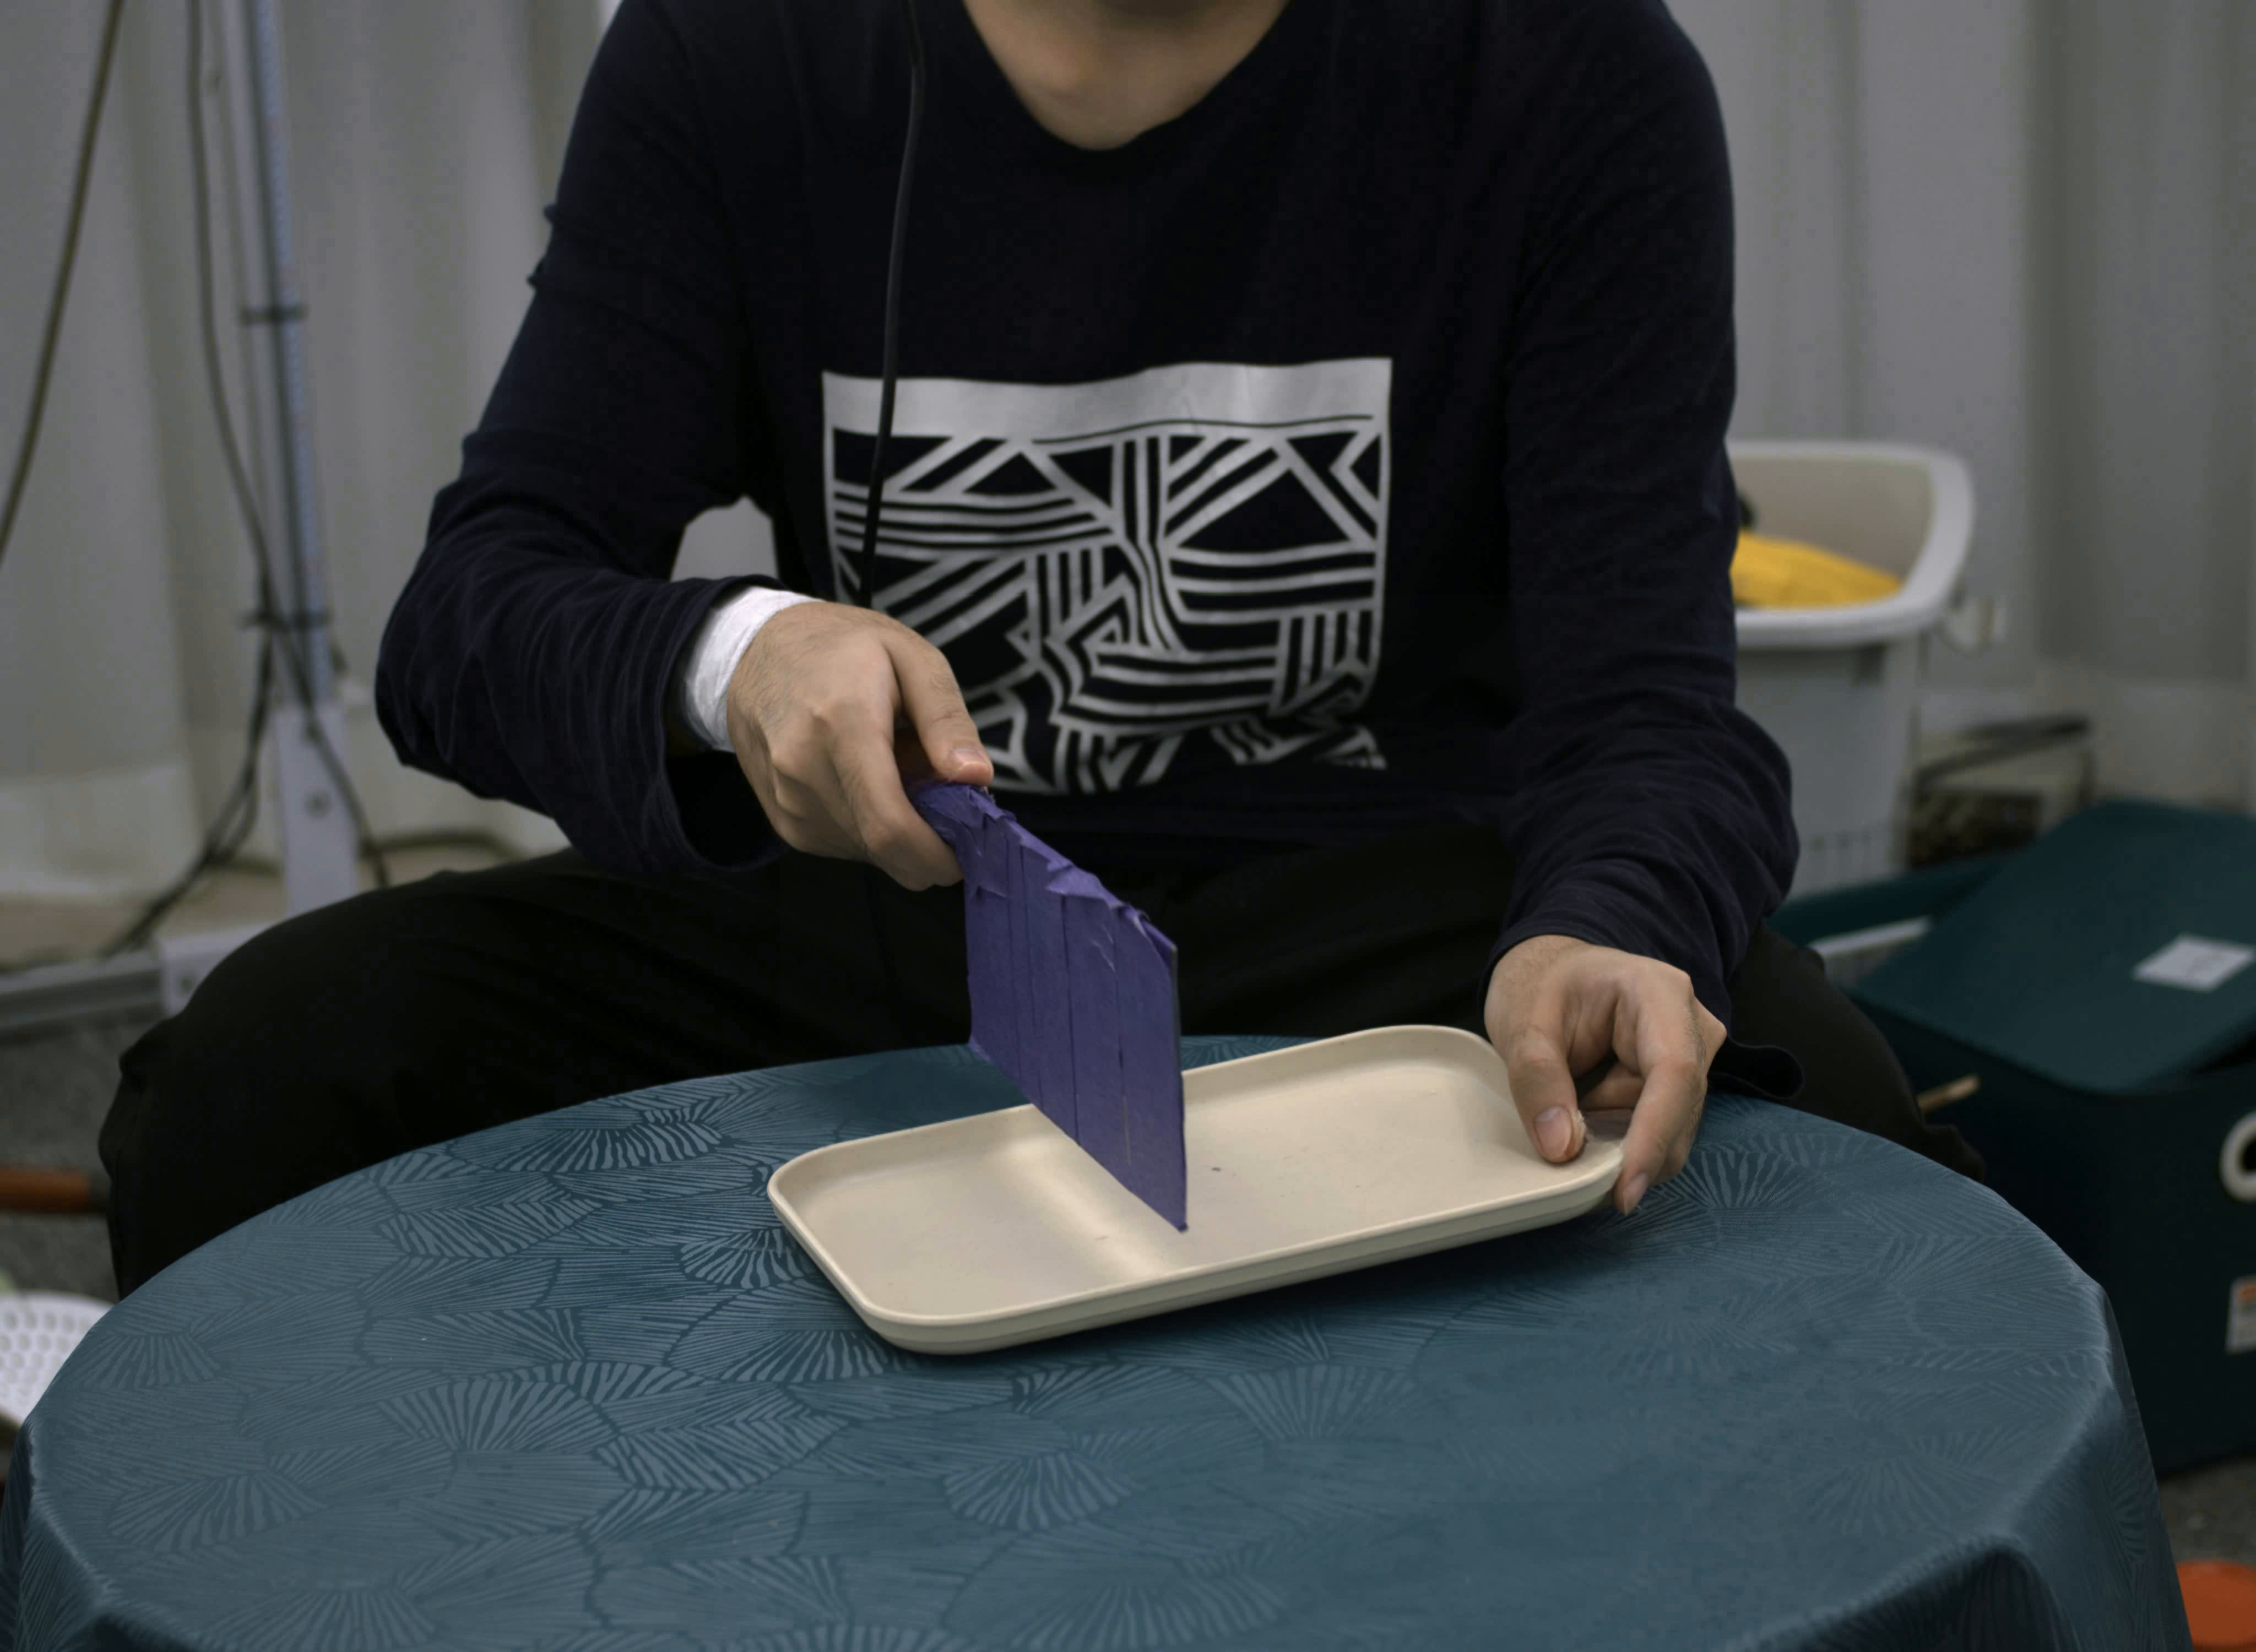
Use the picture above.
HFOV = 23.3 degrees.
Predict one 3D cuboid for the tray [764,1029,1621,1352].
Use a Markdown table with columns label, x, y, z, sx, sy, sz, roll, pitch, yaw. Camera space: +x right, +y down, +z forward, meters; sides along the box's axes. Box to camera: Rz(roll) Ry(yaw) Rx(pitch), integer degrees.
| label | x | y | z | sx | sy | sz | roll | pitch | yaw |
| --- | --- | --- | --- | --- | --- | --- | --- | --- | --- |
| tray | 0.018 | 0.111 | 1.668 | 0.239 | 0.017 | 0.172 | -11 | 16 | -15 |

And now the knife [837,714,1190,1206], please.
| label | x | y | z | sx | sy | sz | roll | pitch | yaw |
| --- | --- | --- | --- | --- | --- | --- | --- | --- | --- |
| knife | -0.038 | 0.040 | 1.706 | 0.032 | 0.103 | 0.318 | -5 | 15 | -16 |
